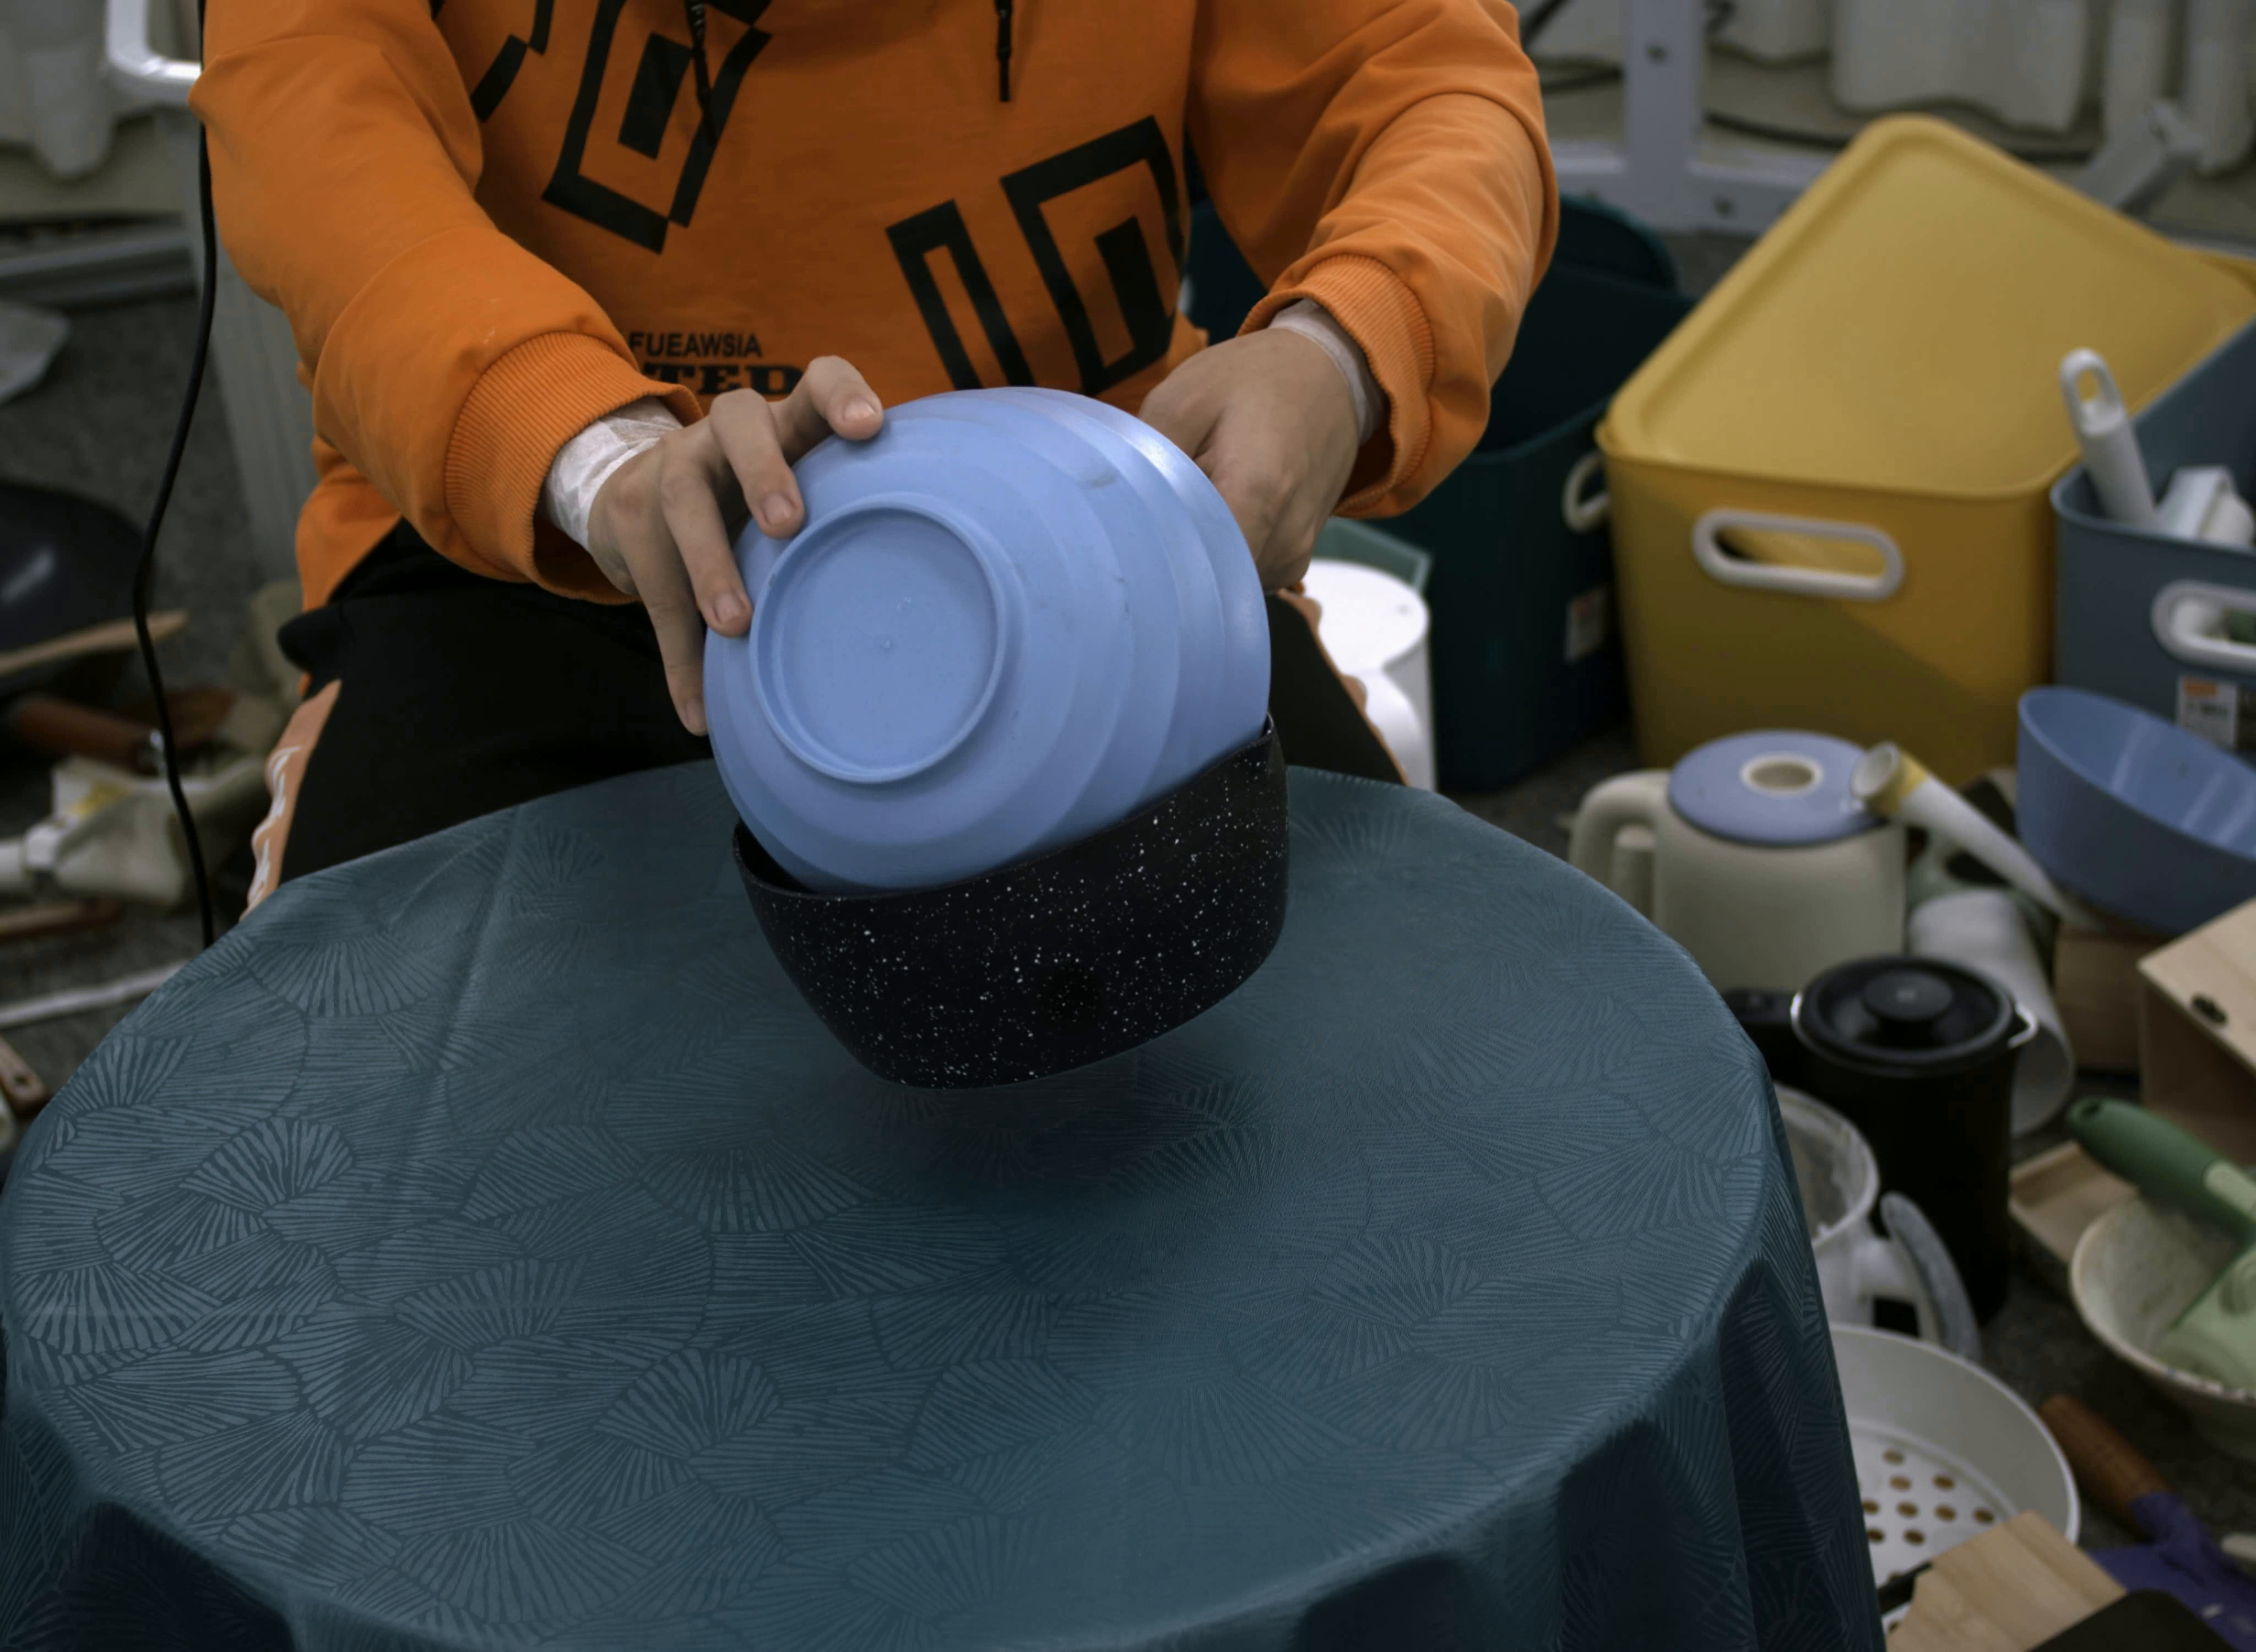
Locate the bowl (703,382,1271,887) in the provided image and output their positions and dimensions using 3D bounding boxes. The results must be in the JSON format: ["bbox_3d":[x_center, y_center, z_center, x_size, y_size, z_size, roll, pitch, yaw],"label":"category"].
[{"bbox_3d":[-0.061,-0.055,1.828,0.195,0.198,0.095,11,-3,24],"label":"bowl"}]

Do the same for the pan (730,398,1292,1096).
[{"bbox_3d":[-0.011,-0.030,1.939,0.205,0.107,0.349,-10,24,24],"label":"pan"}]
